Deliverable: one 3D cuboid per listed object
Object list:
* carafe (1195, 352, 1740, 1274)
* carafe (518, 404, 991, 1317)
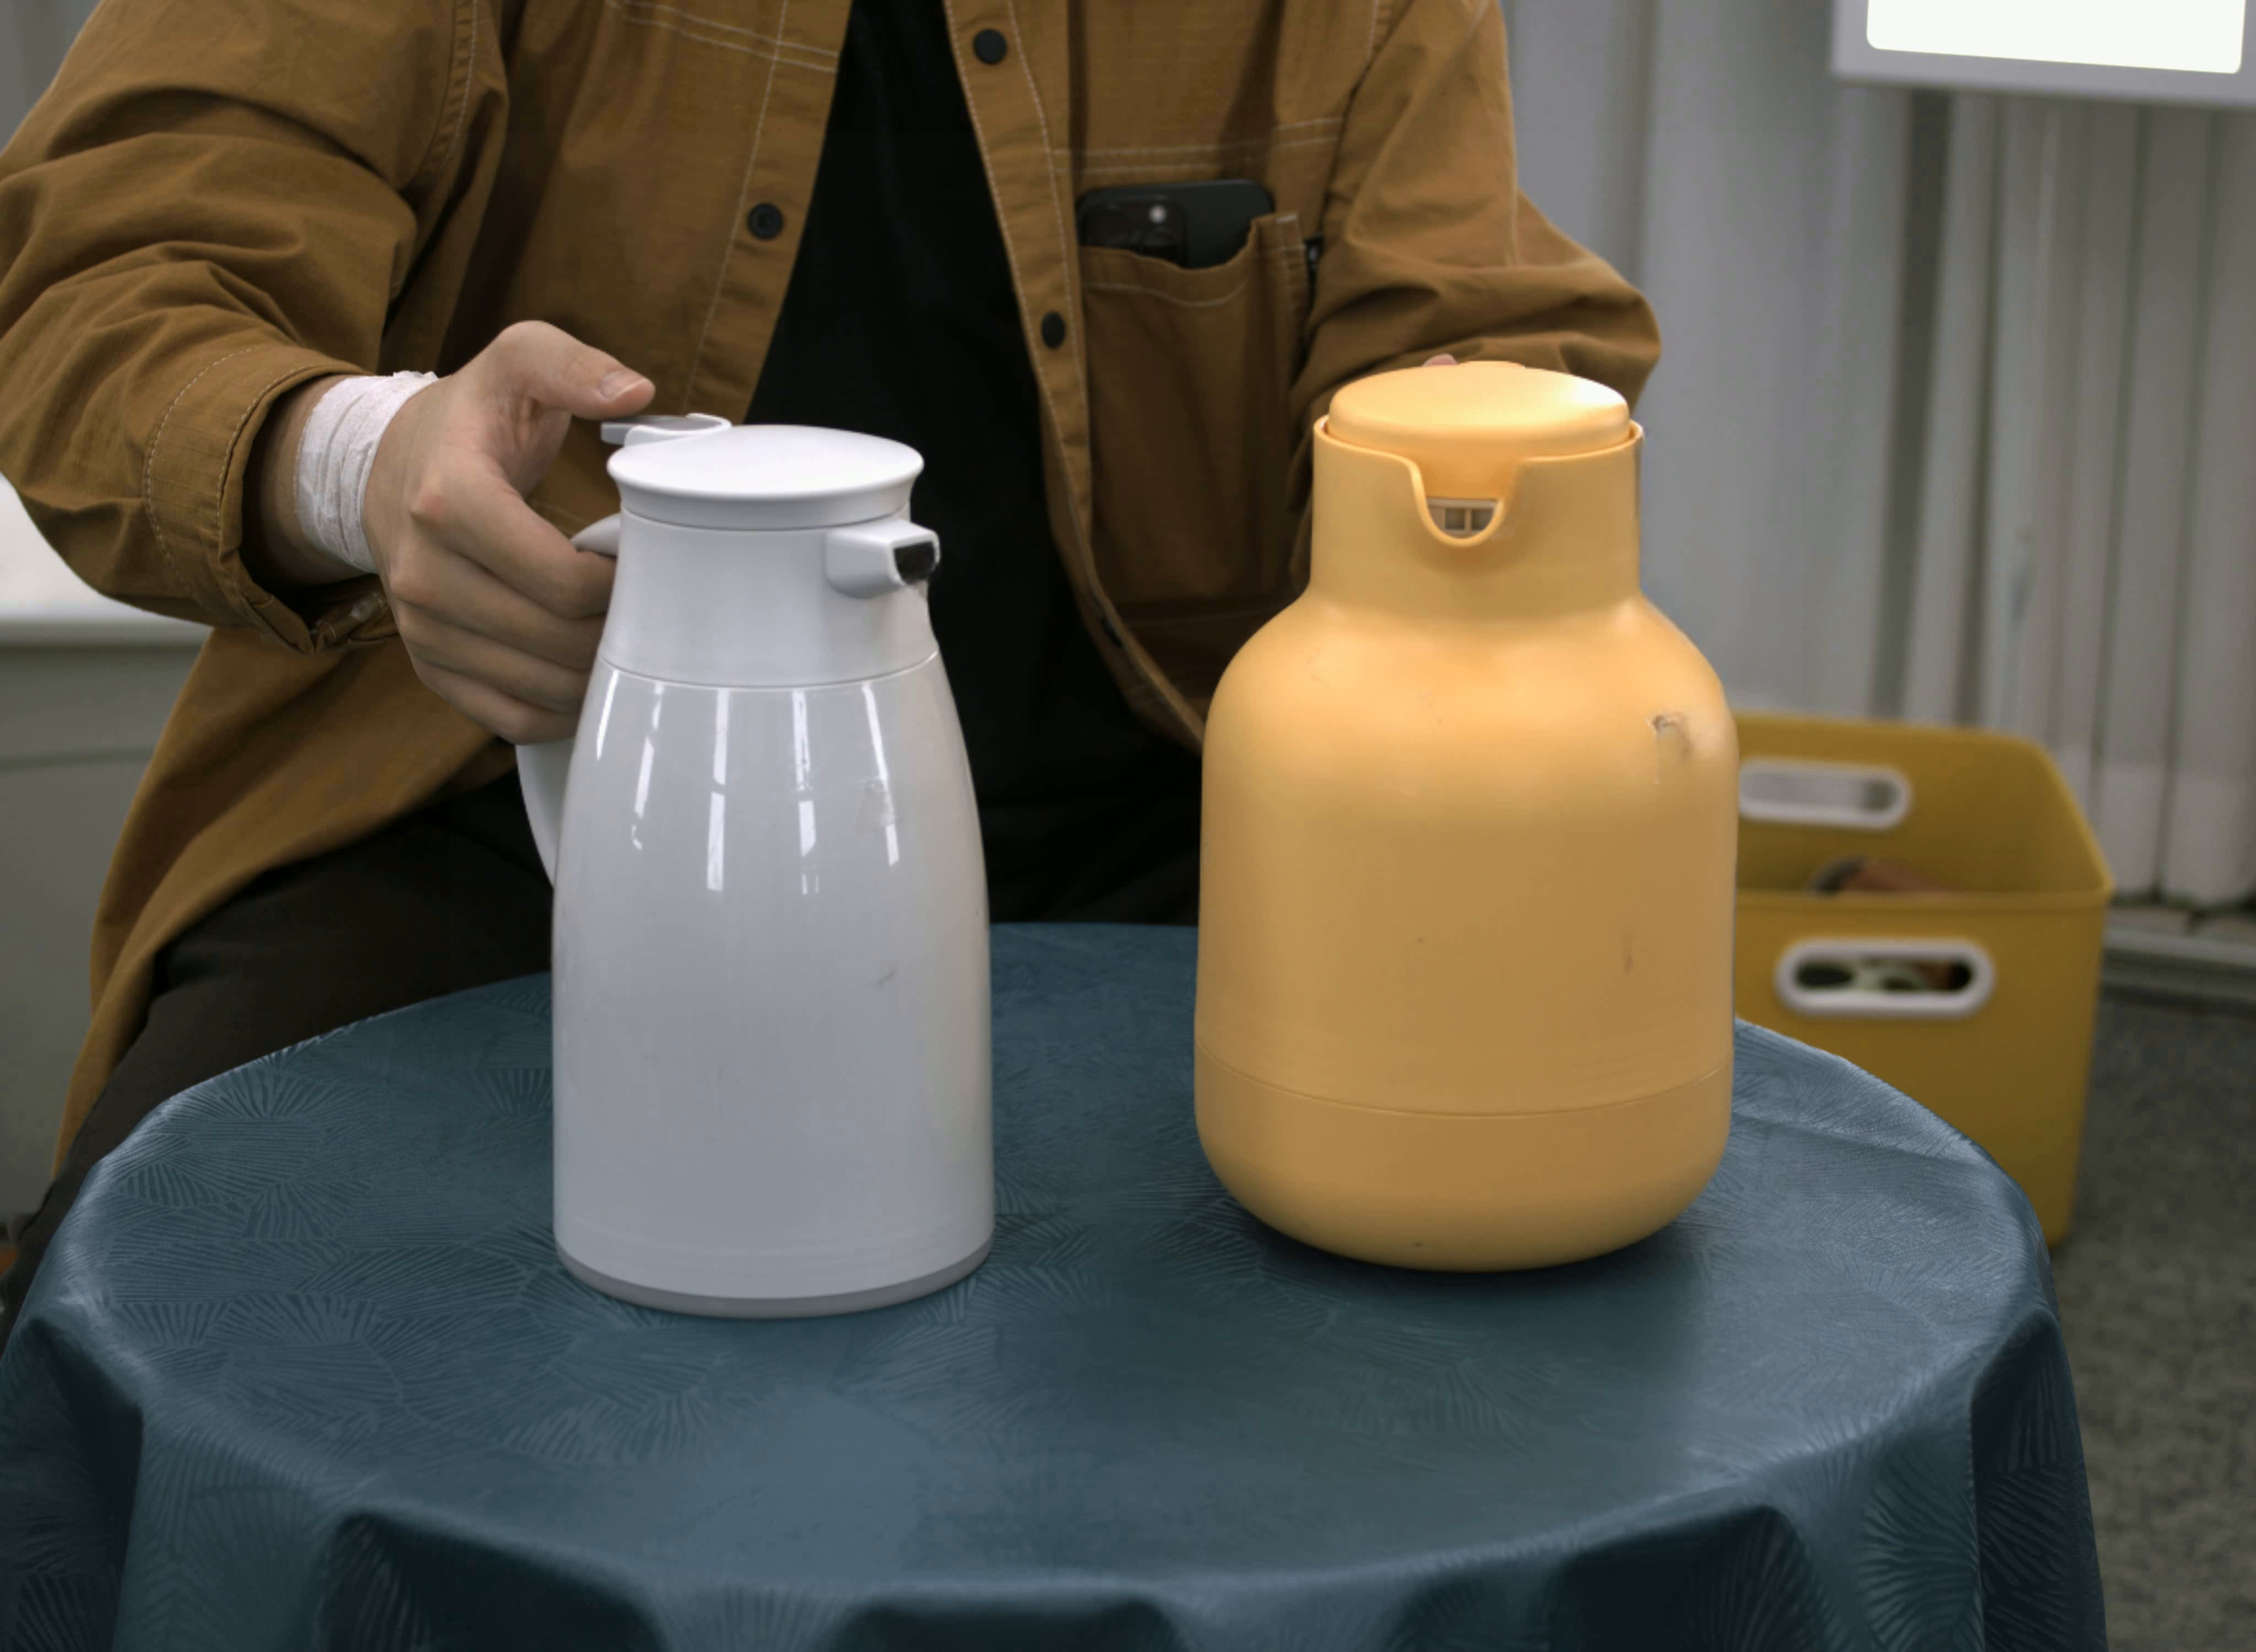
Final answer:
[{"bbox_3d":[0.107,-0.012,1.588,0.162,0.262,0.202,4,18,8],"label":"carafe"},{"bbox_3d":[-0.119,0.002,1.550,0.165,0.250,0.133,14,20,41],"label":"carafe"}]
